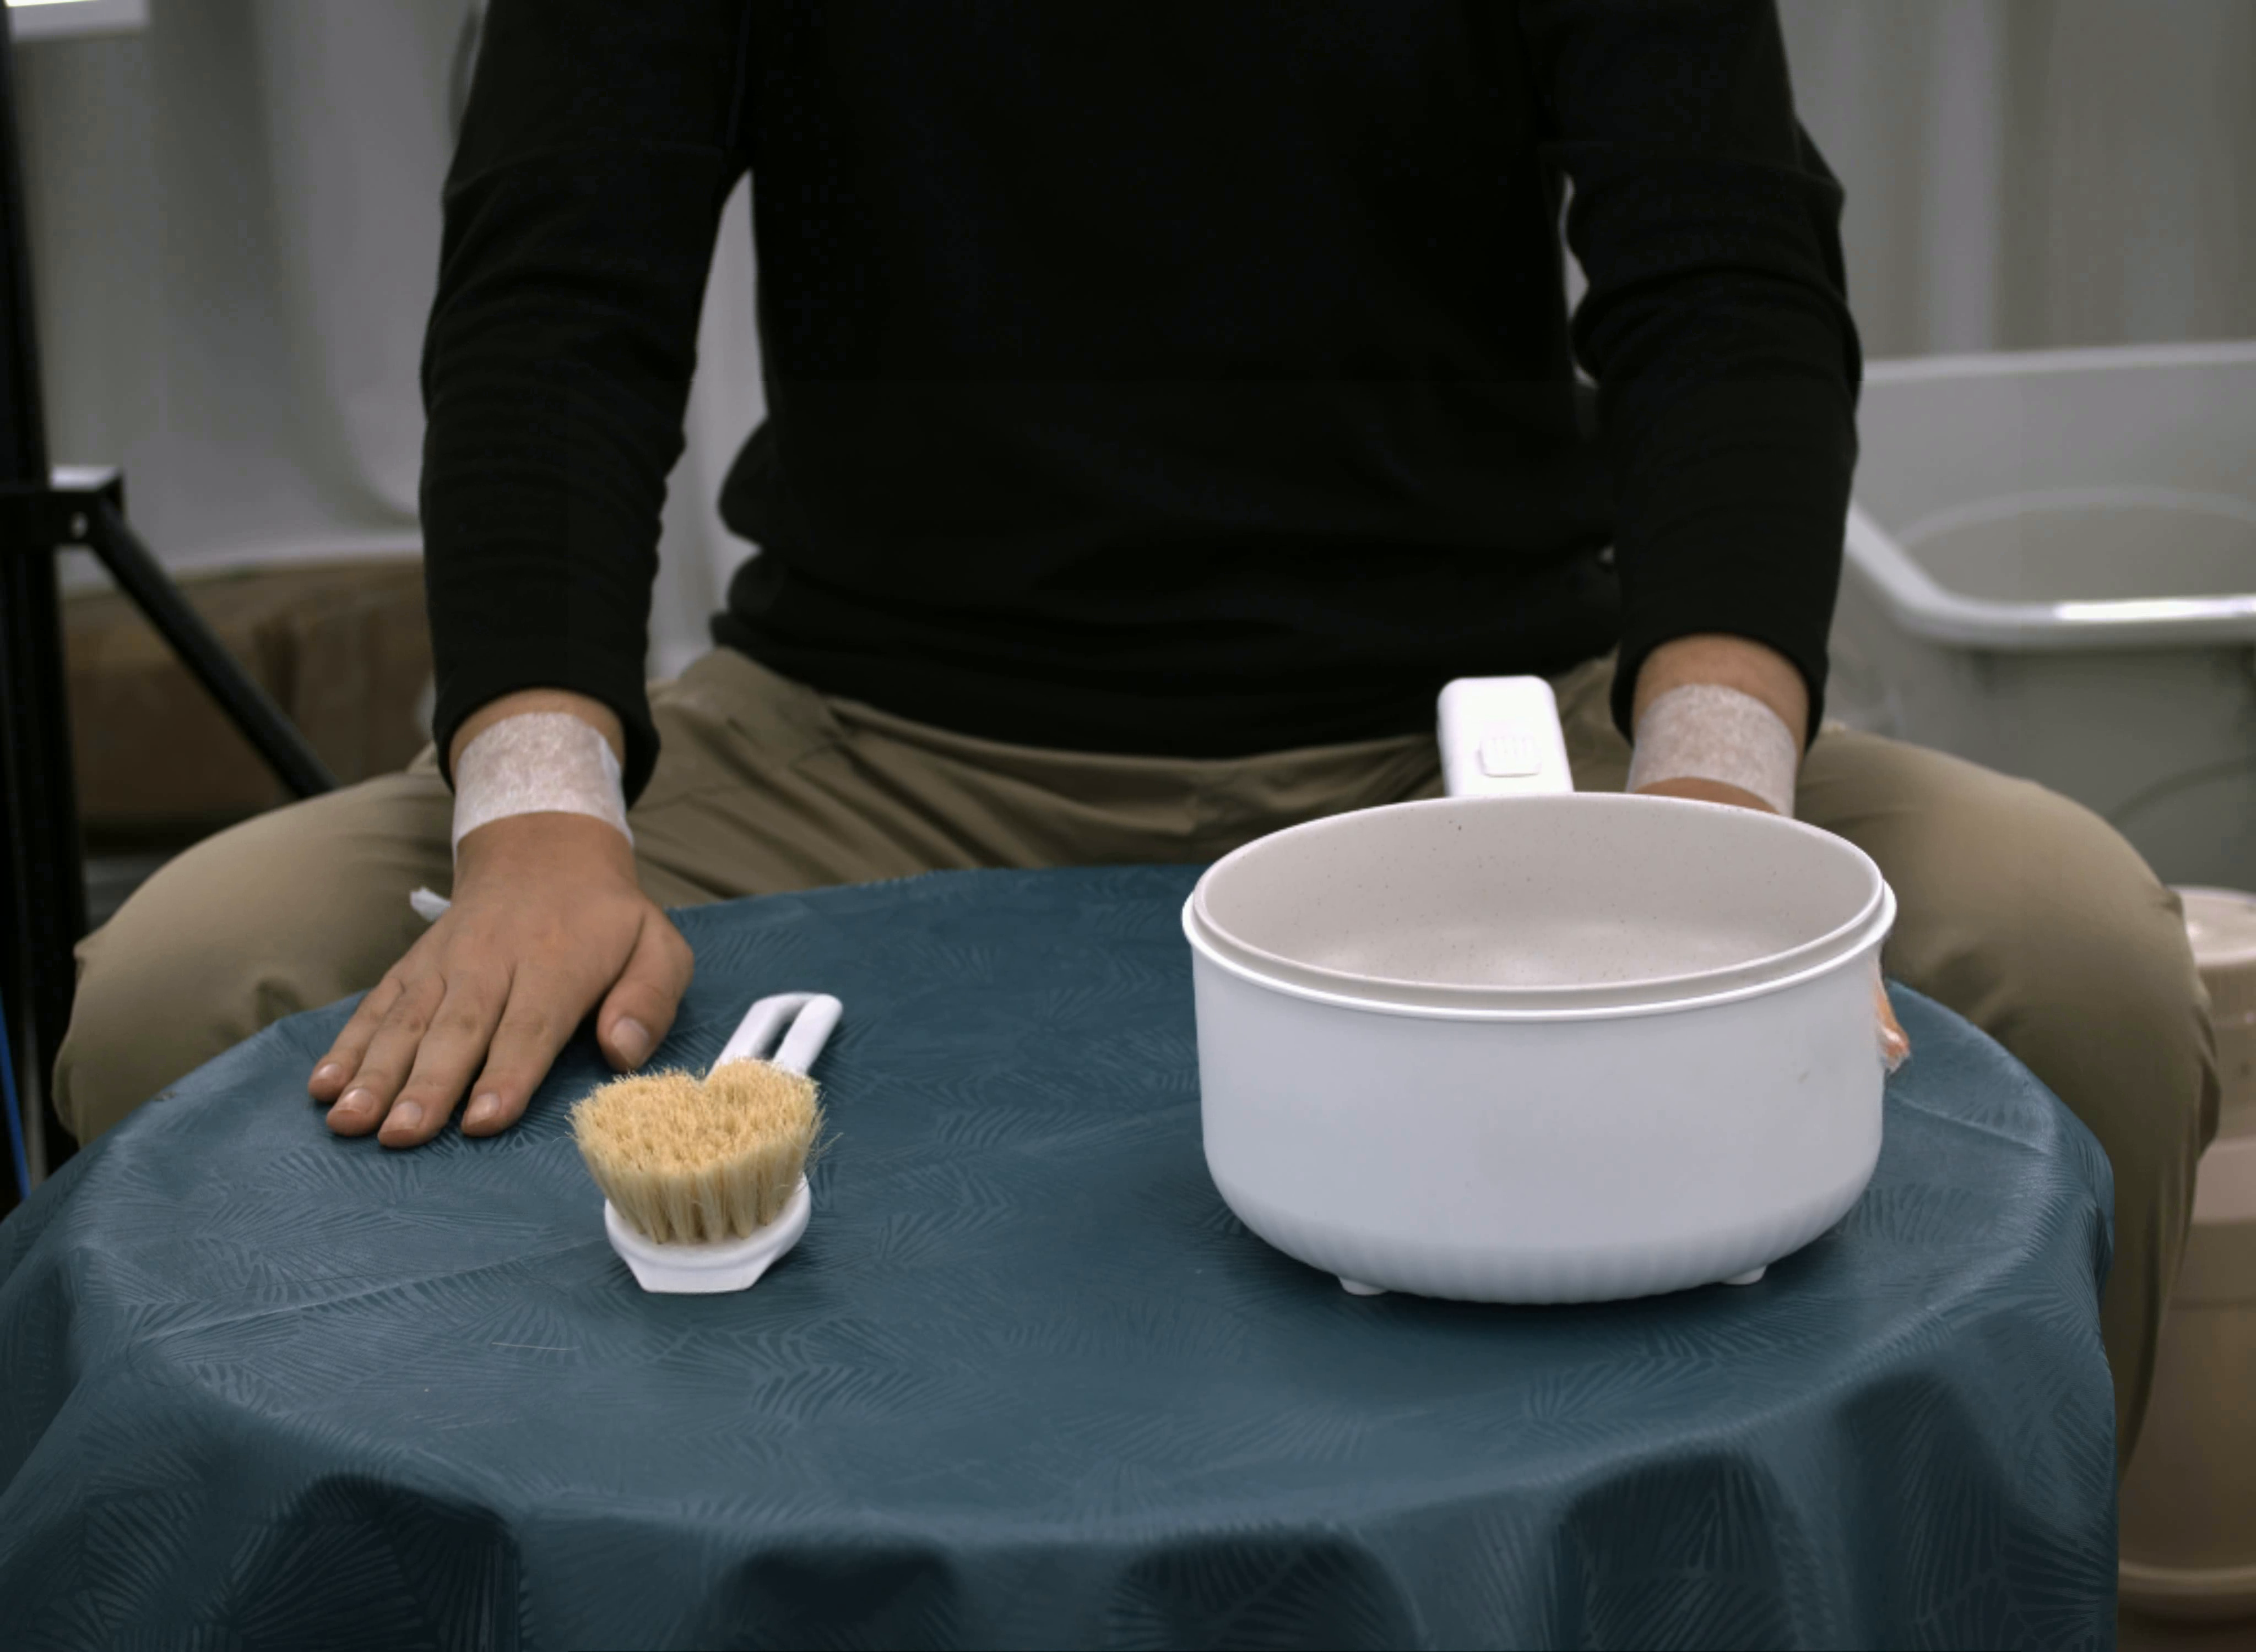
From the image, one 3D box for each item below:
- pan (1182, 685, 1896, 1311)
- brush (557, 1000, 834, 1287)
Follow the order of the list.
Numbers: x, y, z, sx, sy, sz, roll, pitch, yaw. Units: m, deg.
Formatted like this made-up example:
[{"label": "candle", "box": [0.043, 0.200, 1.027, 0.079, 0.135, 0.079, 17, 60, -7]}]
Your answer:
[{"label": "pan", "box": [0.119, 0.046, 1.579, 0.201, 0.102, 0.355, -3, 15, 3]}, {"label": "brush", "box": [-0.120, 0.071, 1.611, 0.068, 0.056, 0.266, 3, 15, 4]}]
